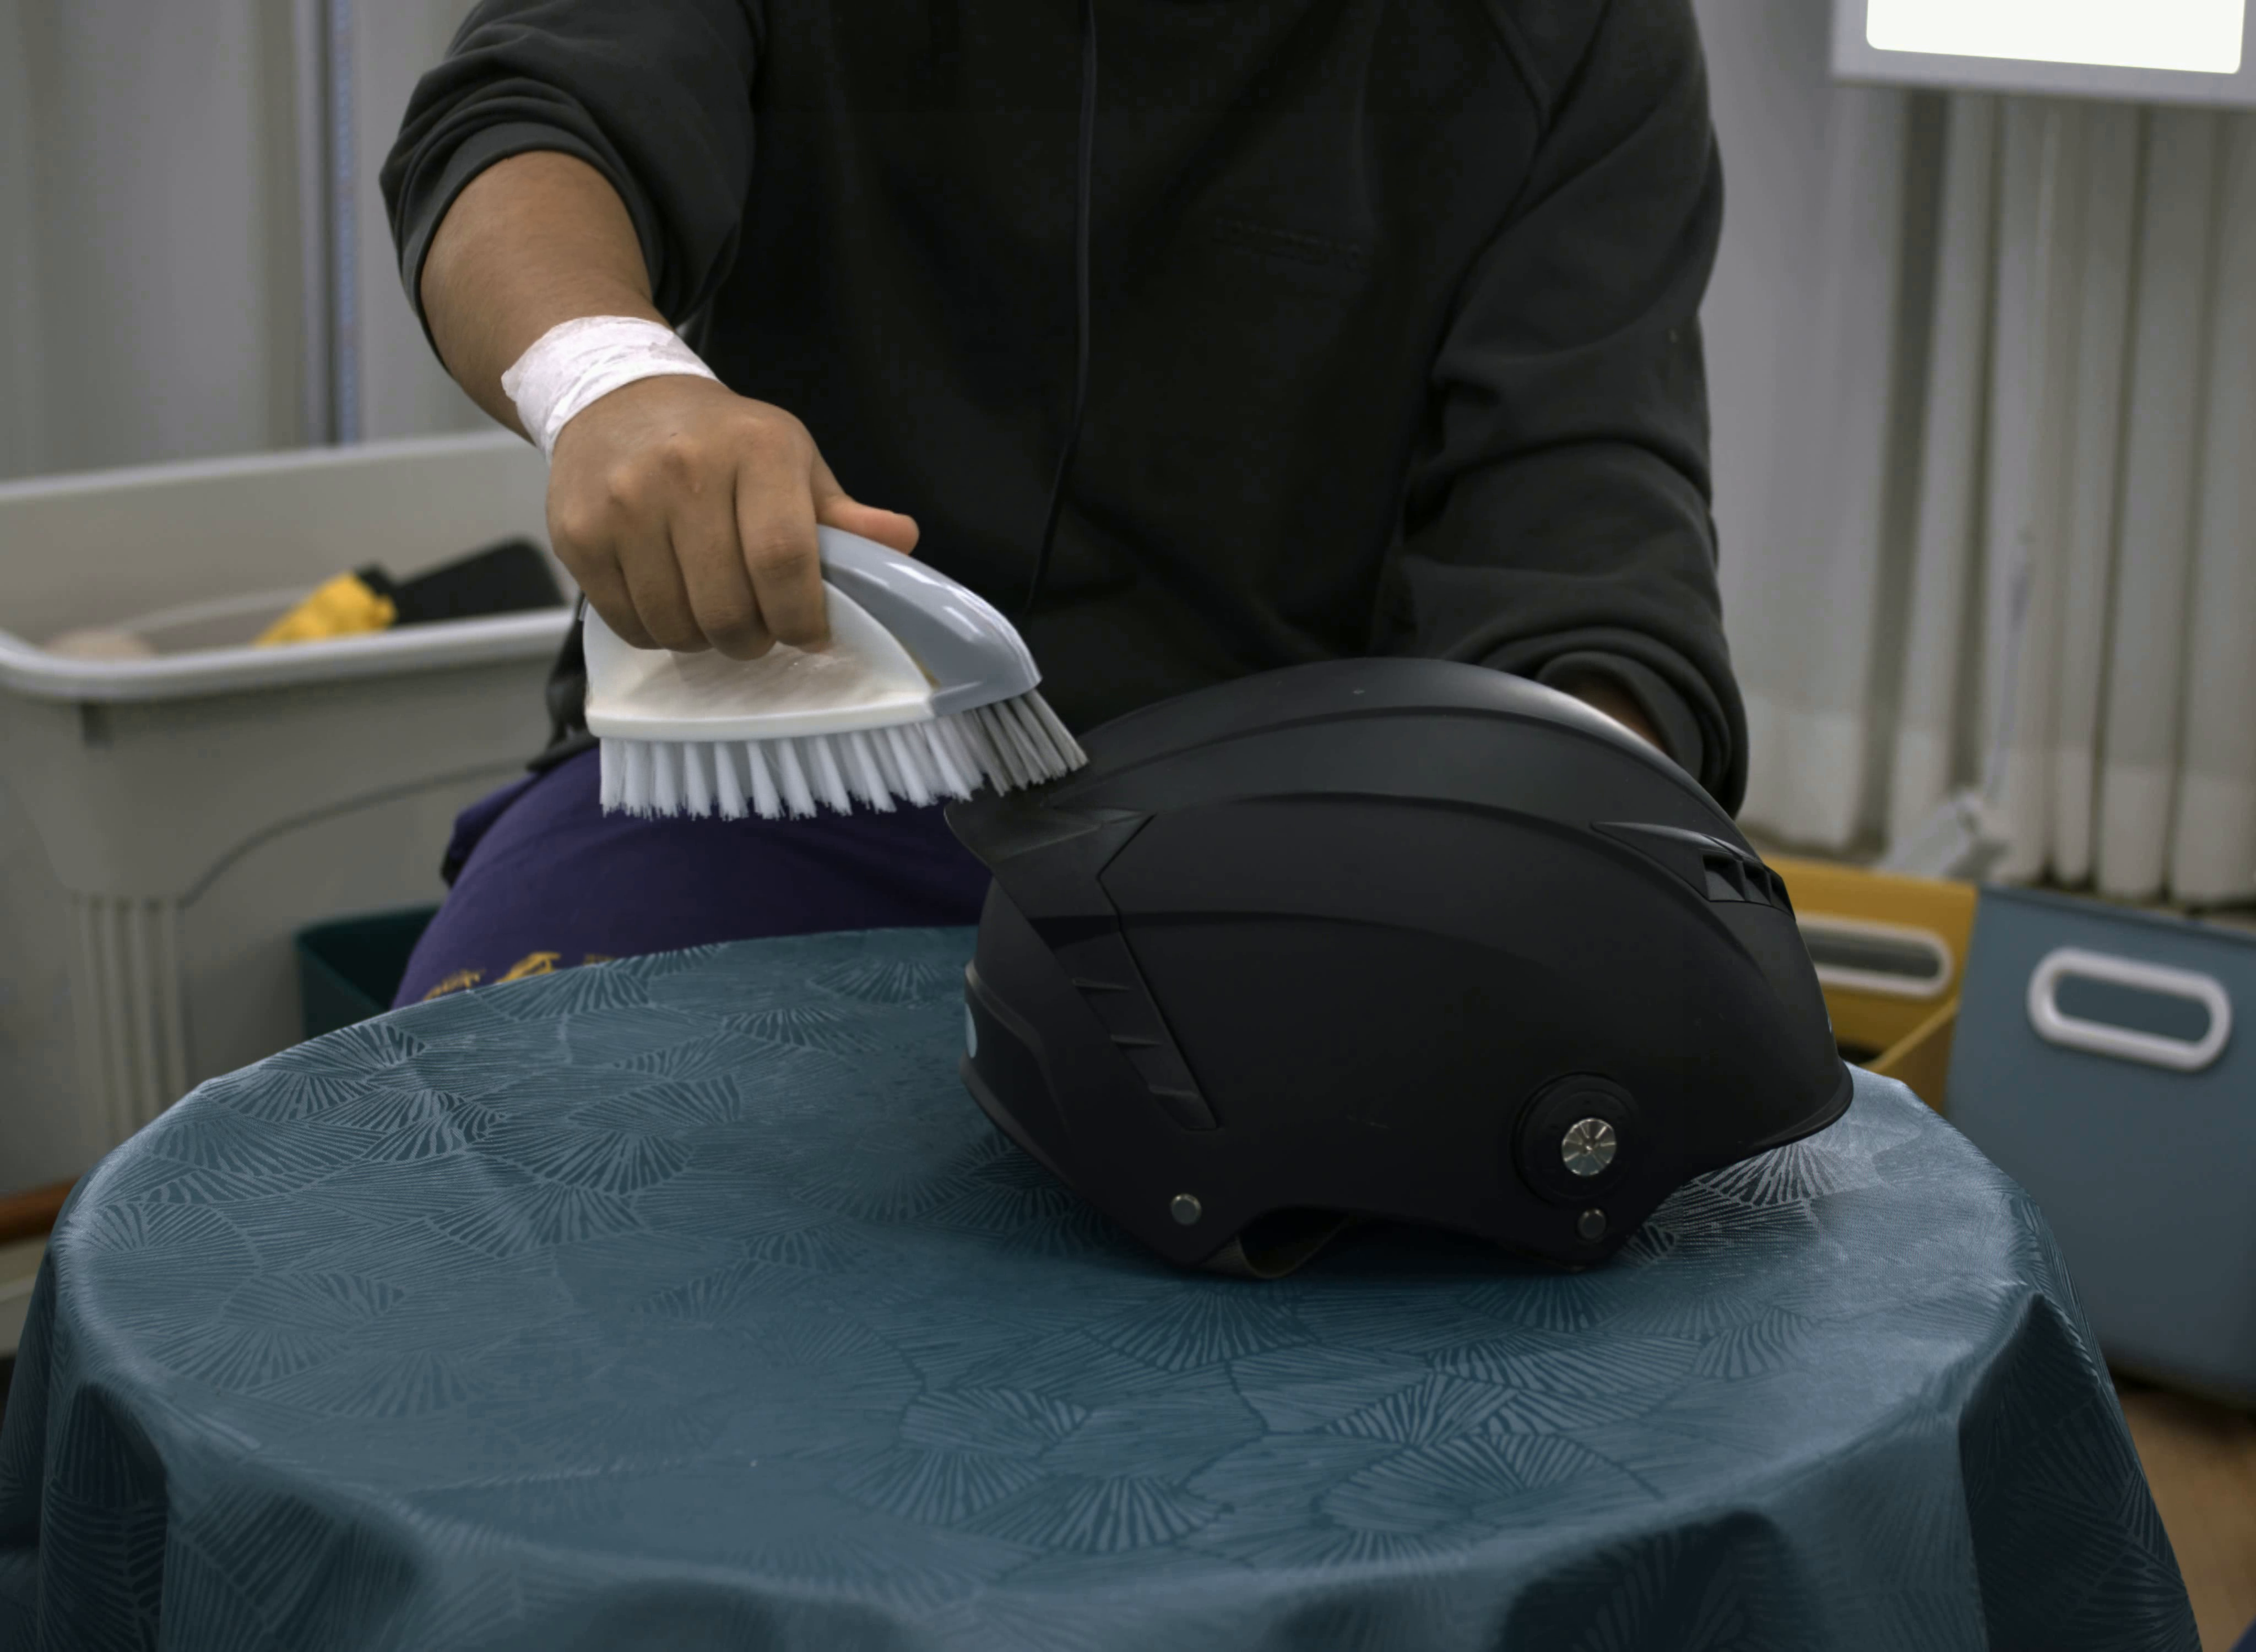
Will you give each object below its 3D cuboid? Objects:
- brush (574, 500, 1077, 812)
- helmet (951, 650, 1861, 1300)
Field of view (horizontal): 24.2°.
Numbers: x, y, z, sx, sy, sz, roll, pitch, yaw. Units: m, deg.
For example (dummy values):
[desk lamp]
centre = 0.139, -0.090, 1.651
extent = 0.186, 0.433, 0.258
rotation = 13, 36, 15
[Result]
[brush]
centre = -0.097, -0.056, 1.611
extent = 0.173, 0.095, 0.061
rotation = 4, 35, 35
[helmet]
centre = 0.082, 0.032, 1.619
extent = 0.276, 0.174, 0.244
rotation = -7, 18, -9
